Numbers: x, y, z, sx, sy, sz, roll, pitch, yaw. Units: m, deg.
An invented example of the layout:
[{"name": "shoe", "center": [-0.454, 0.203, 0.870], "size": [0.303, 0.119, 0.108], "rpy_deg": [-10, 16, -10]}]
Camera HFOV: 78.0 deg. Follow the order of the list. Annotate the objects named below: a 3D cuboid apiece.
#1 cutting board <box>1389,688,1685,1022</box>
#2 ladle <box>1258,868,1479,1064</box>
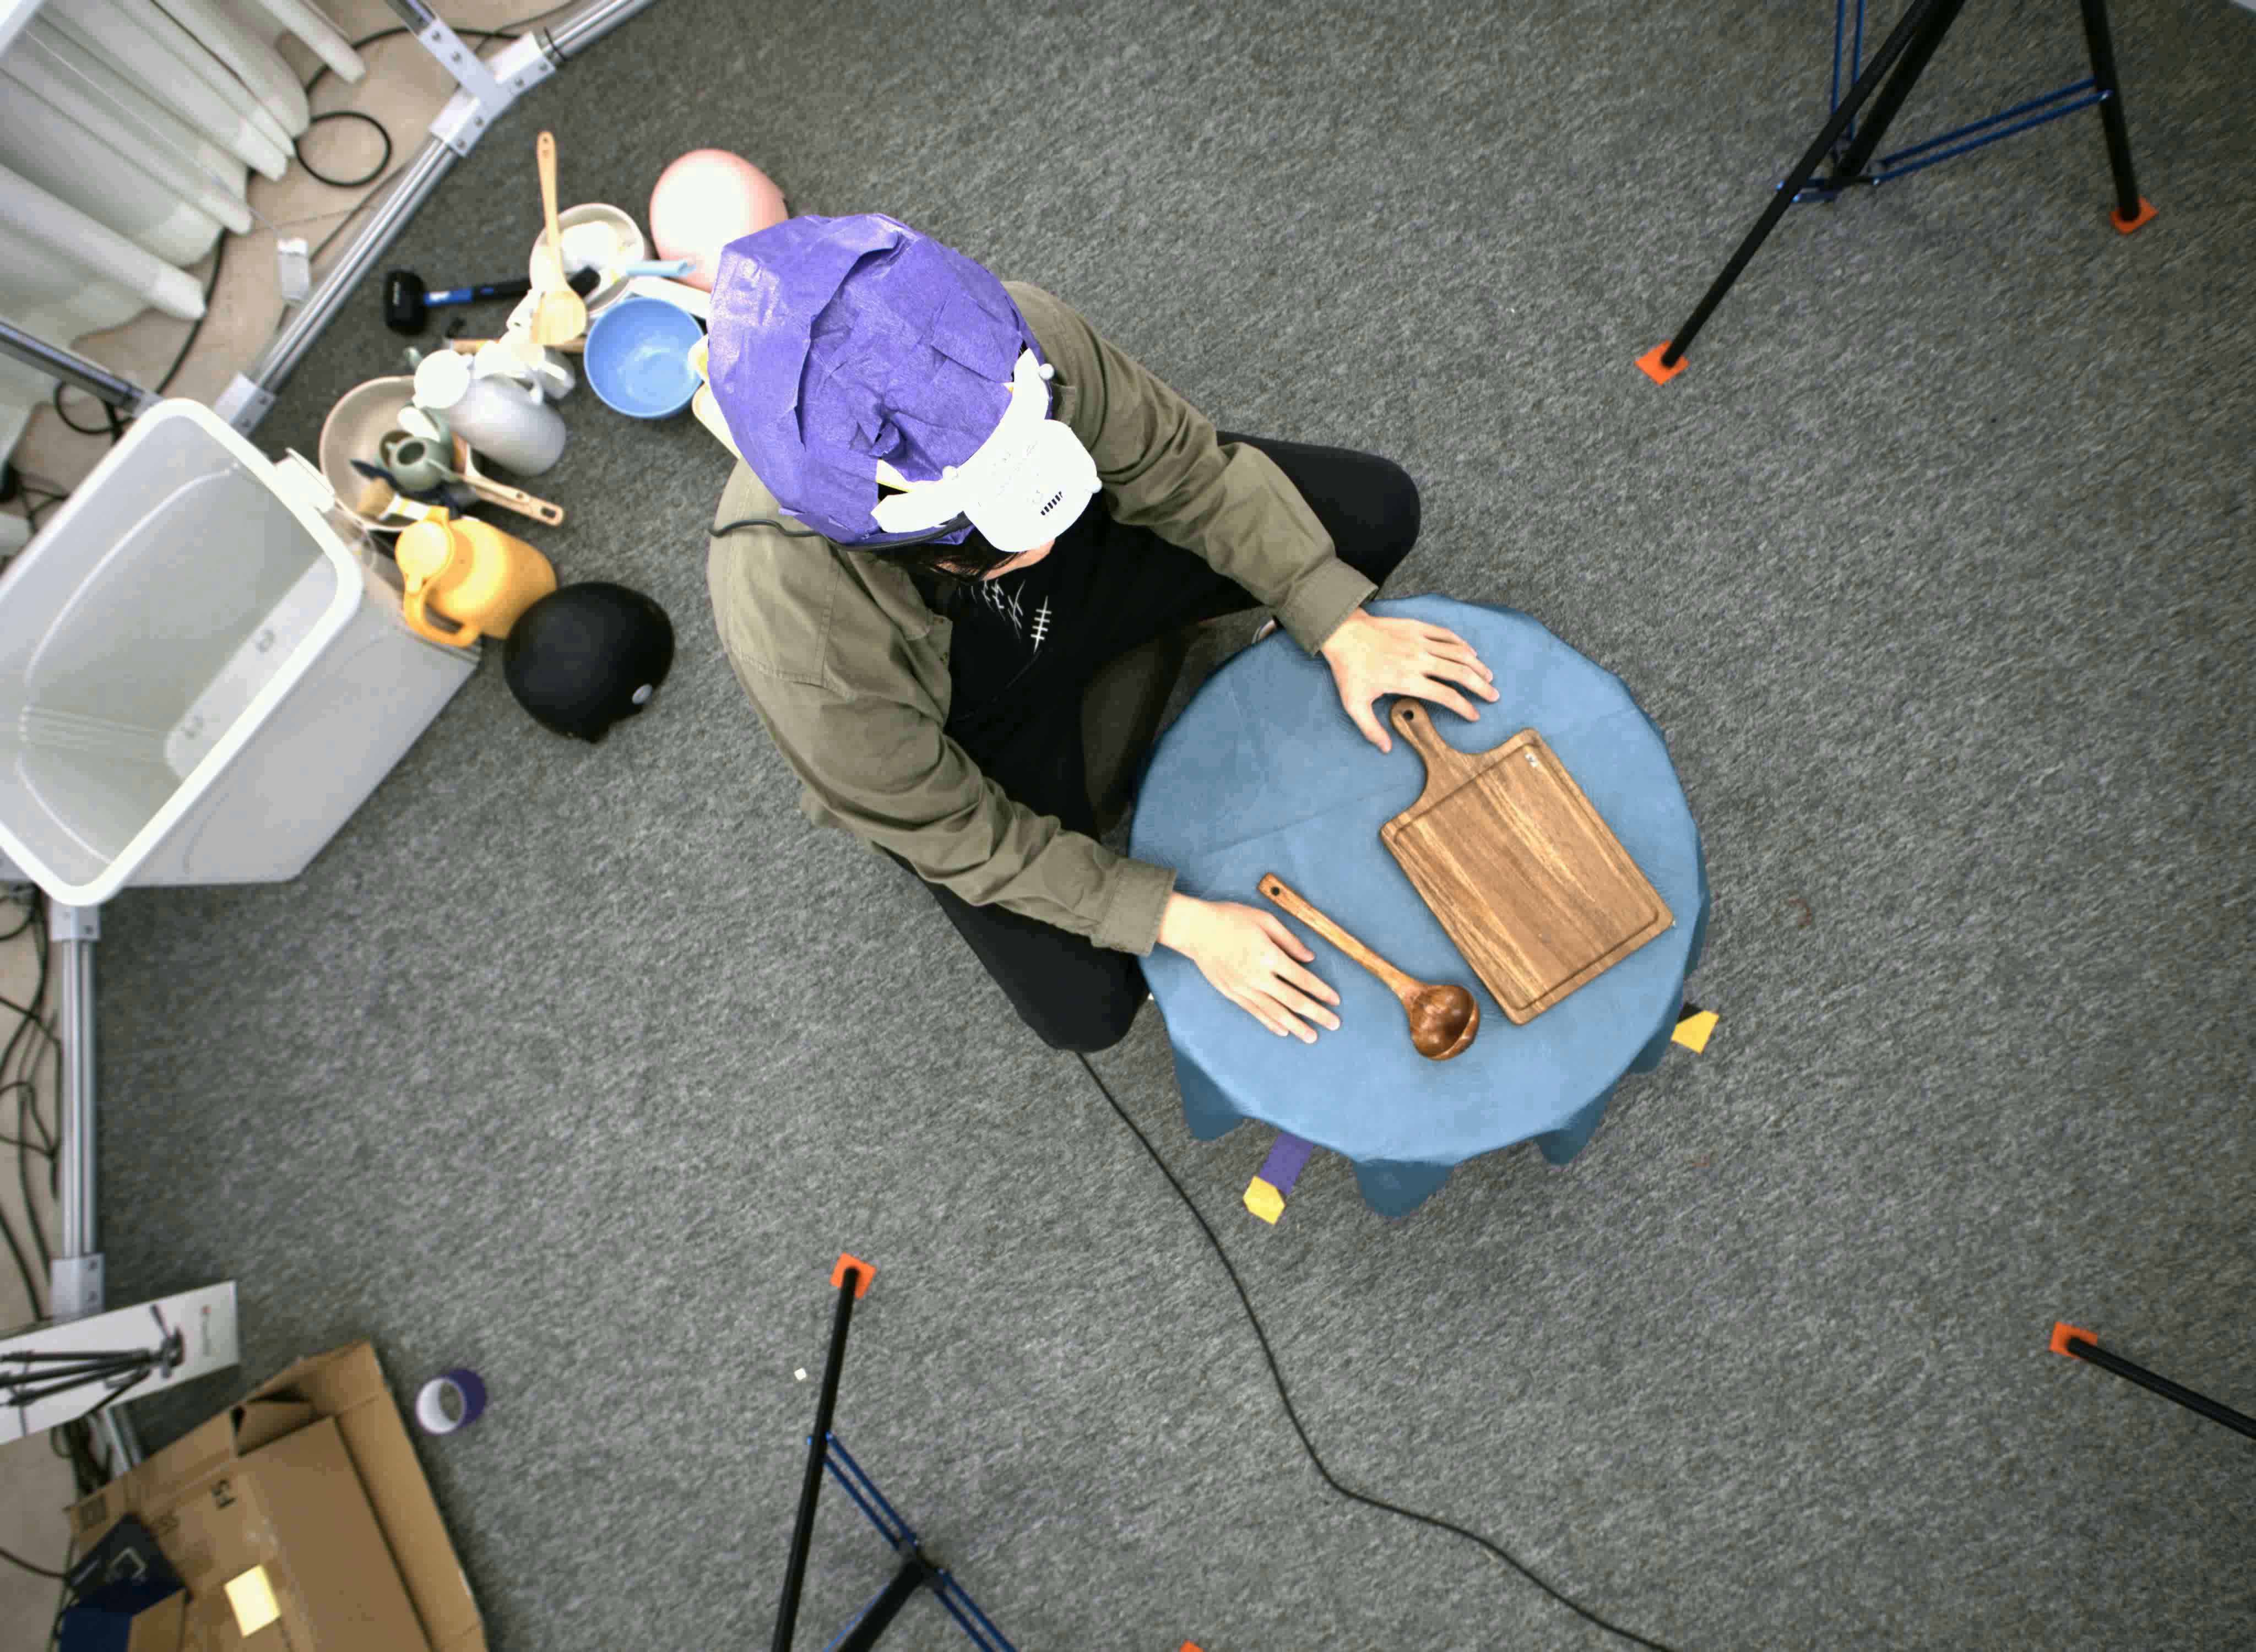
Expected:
[{"name": "cutting board", "center": [0.392, 0.002, 1.419], "size": [0.202, 0.023, 0.350], "rpy_deg": [-34, 83, 7]}, {"name": "ladle", "center": [0.237, 0.137, 1.414], "size": [0.273, 0.076, 0.082], "rpy_deg": [38, 98, 10]}]
